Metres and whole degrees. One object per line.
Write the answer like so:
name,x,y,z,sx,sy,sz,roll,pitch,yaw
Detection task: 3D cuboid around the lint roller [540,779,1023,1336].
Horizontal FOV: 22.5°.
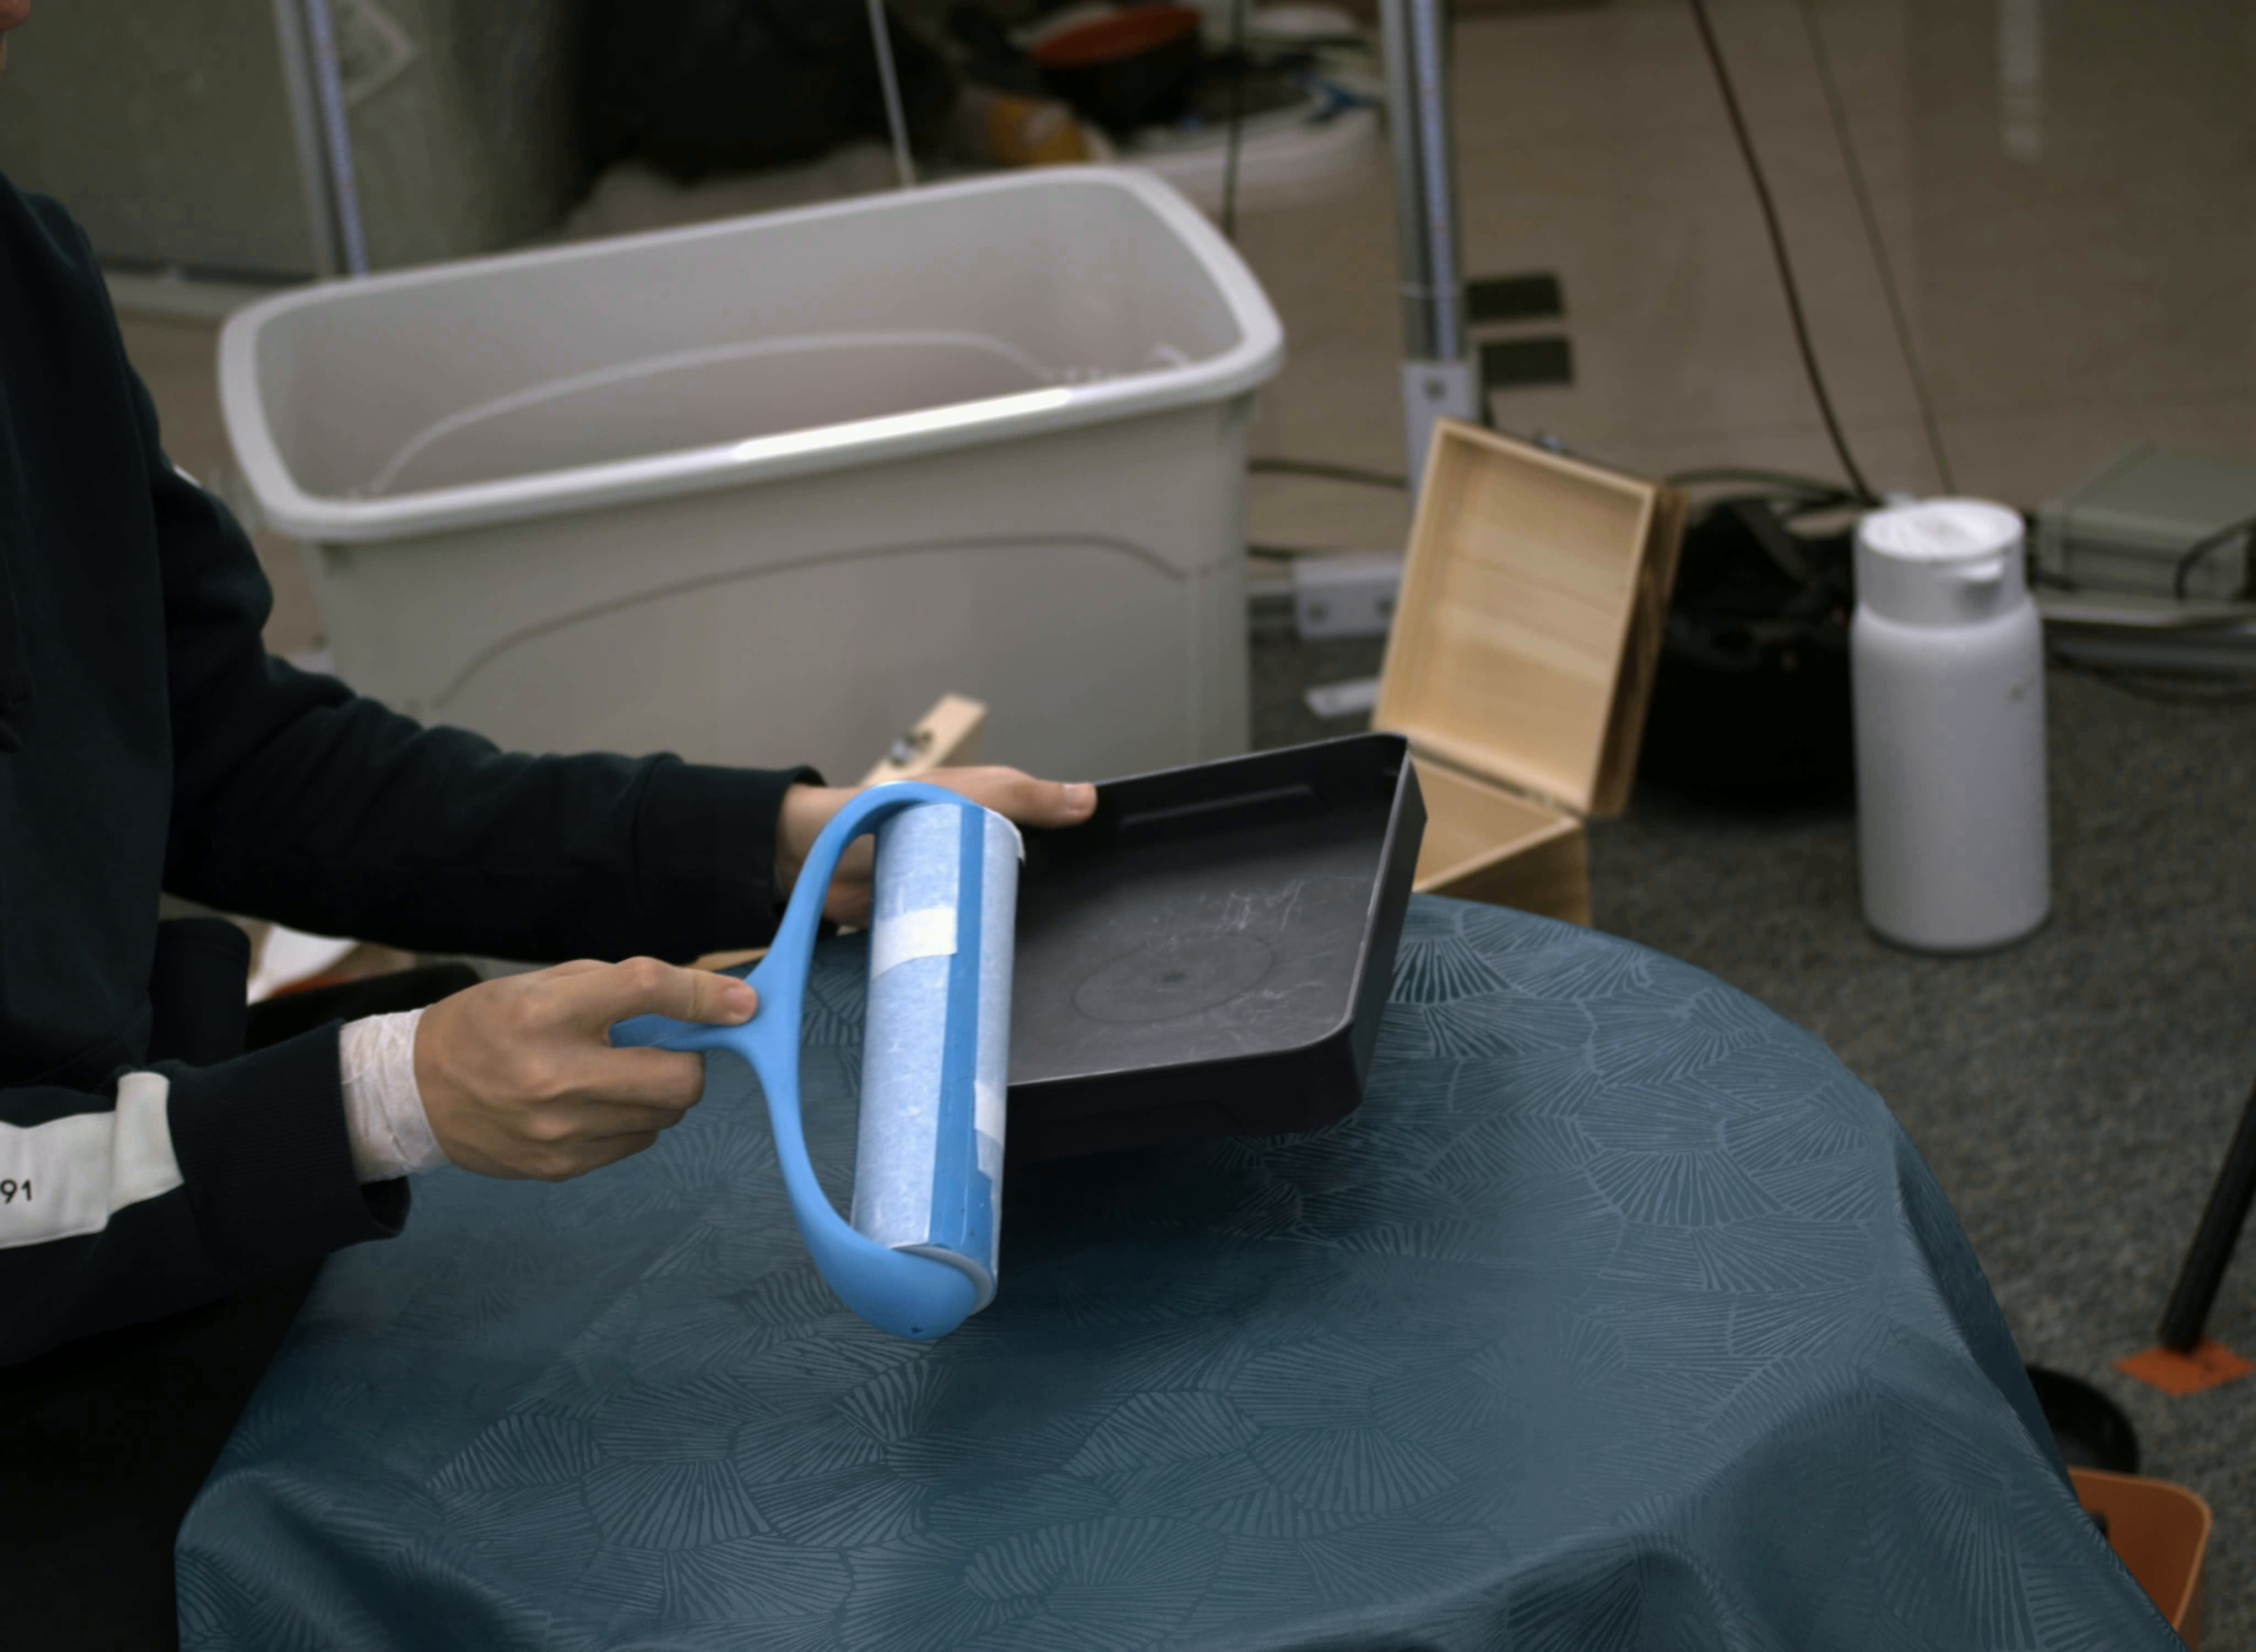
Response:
lint roller,-0.127,0.085,2.037,0.180,0.069,0.225,-3,56,3

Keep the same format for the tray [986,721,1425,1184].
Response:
tray,0.017,0.046,2.200,0.184,0.037,0.313,-10,22,11
